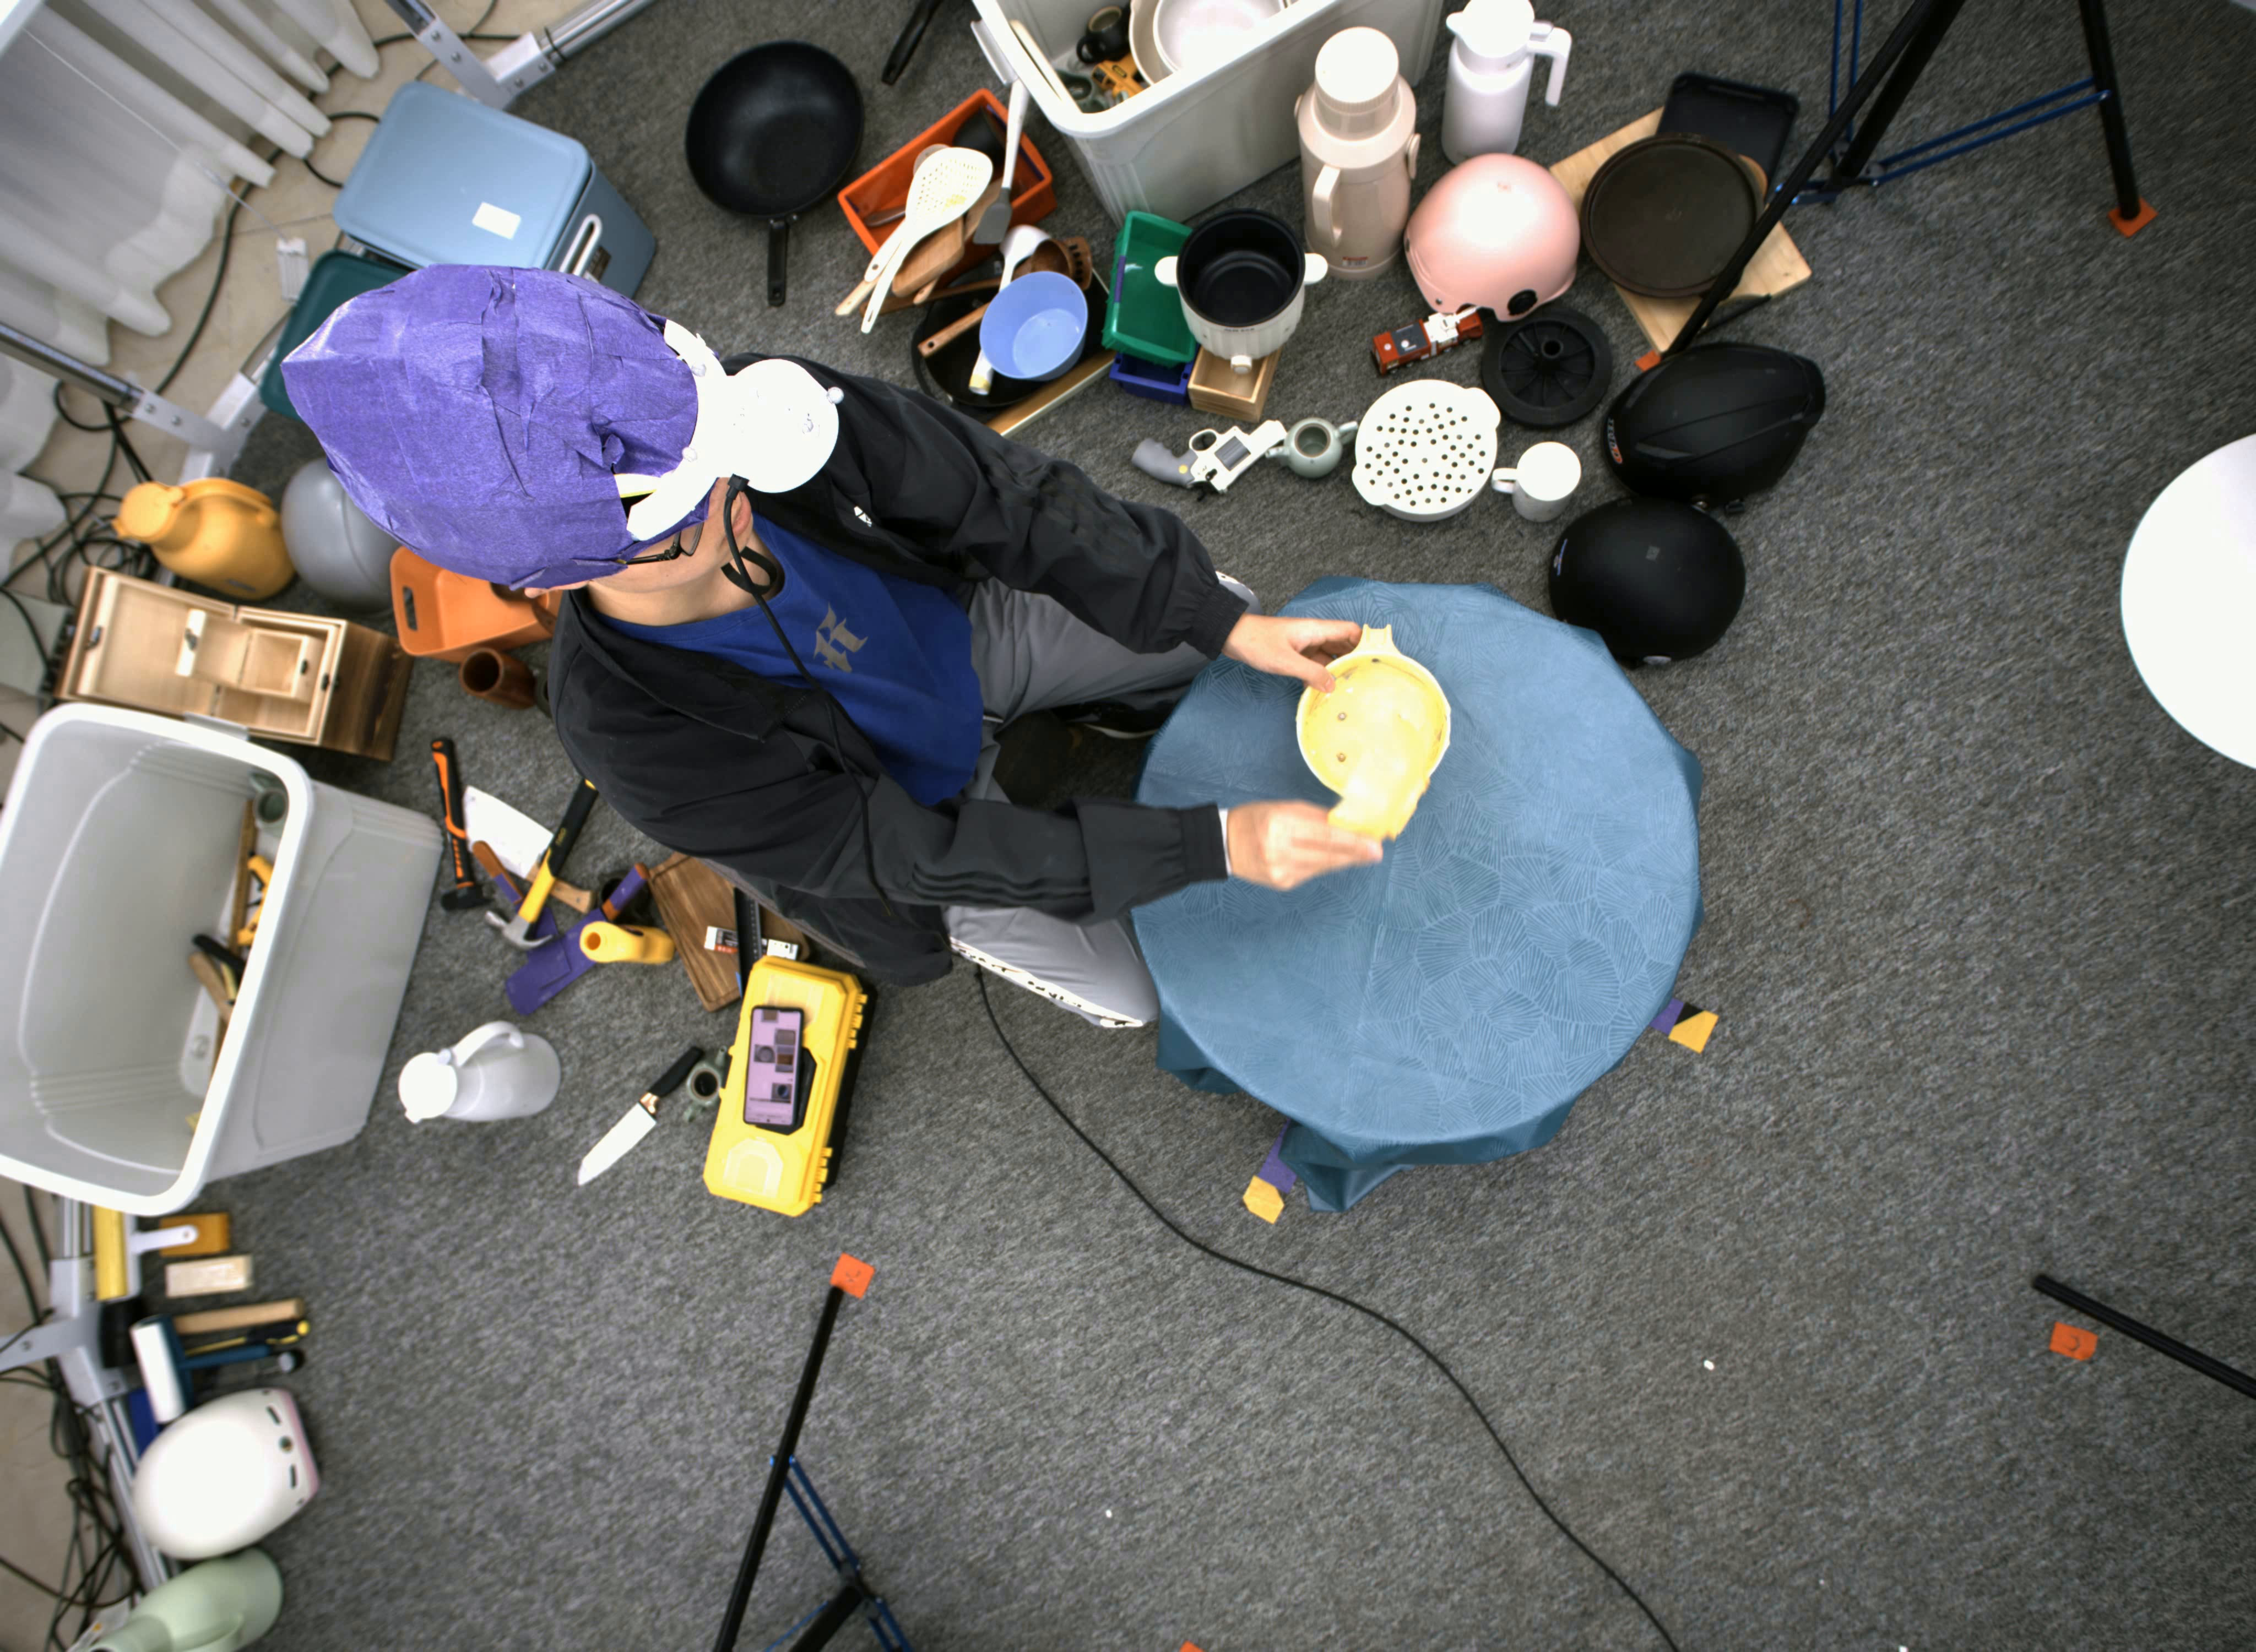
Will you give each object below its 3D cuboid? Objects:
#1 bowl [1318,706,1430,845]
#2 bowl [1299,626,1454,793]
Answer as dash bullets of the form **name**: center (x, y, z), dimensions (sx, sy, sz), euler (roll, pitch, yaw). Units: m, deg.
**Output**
- **bowl**: center (0.239, -0.037, 1.280), dimensions (0.060, 0.145, 0.145), euler (31, 91, 15)
- **bowl**: center (0.254, -0.114, 1.401), dimensions (0.154, 0.074, 0.179), euler (-1, 93, 14)
